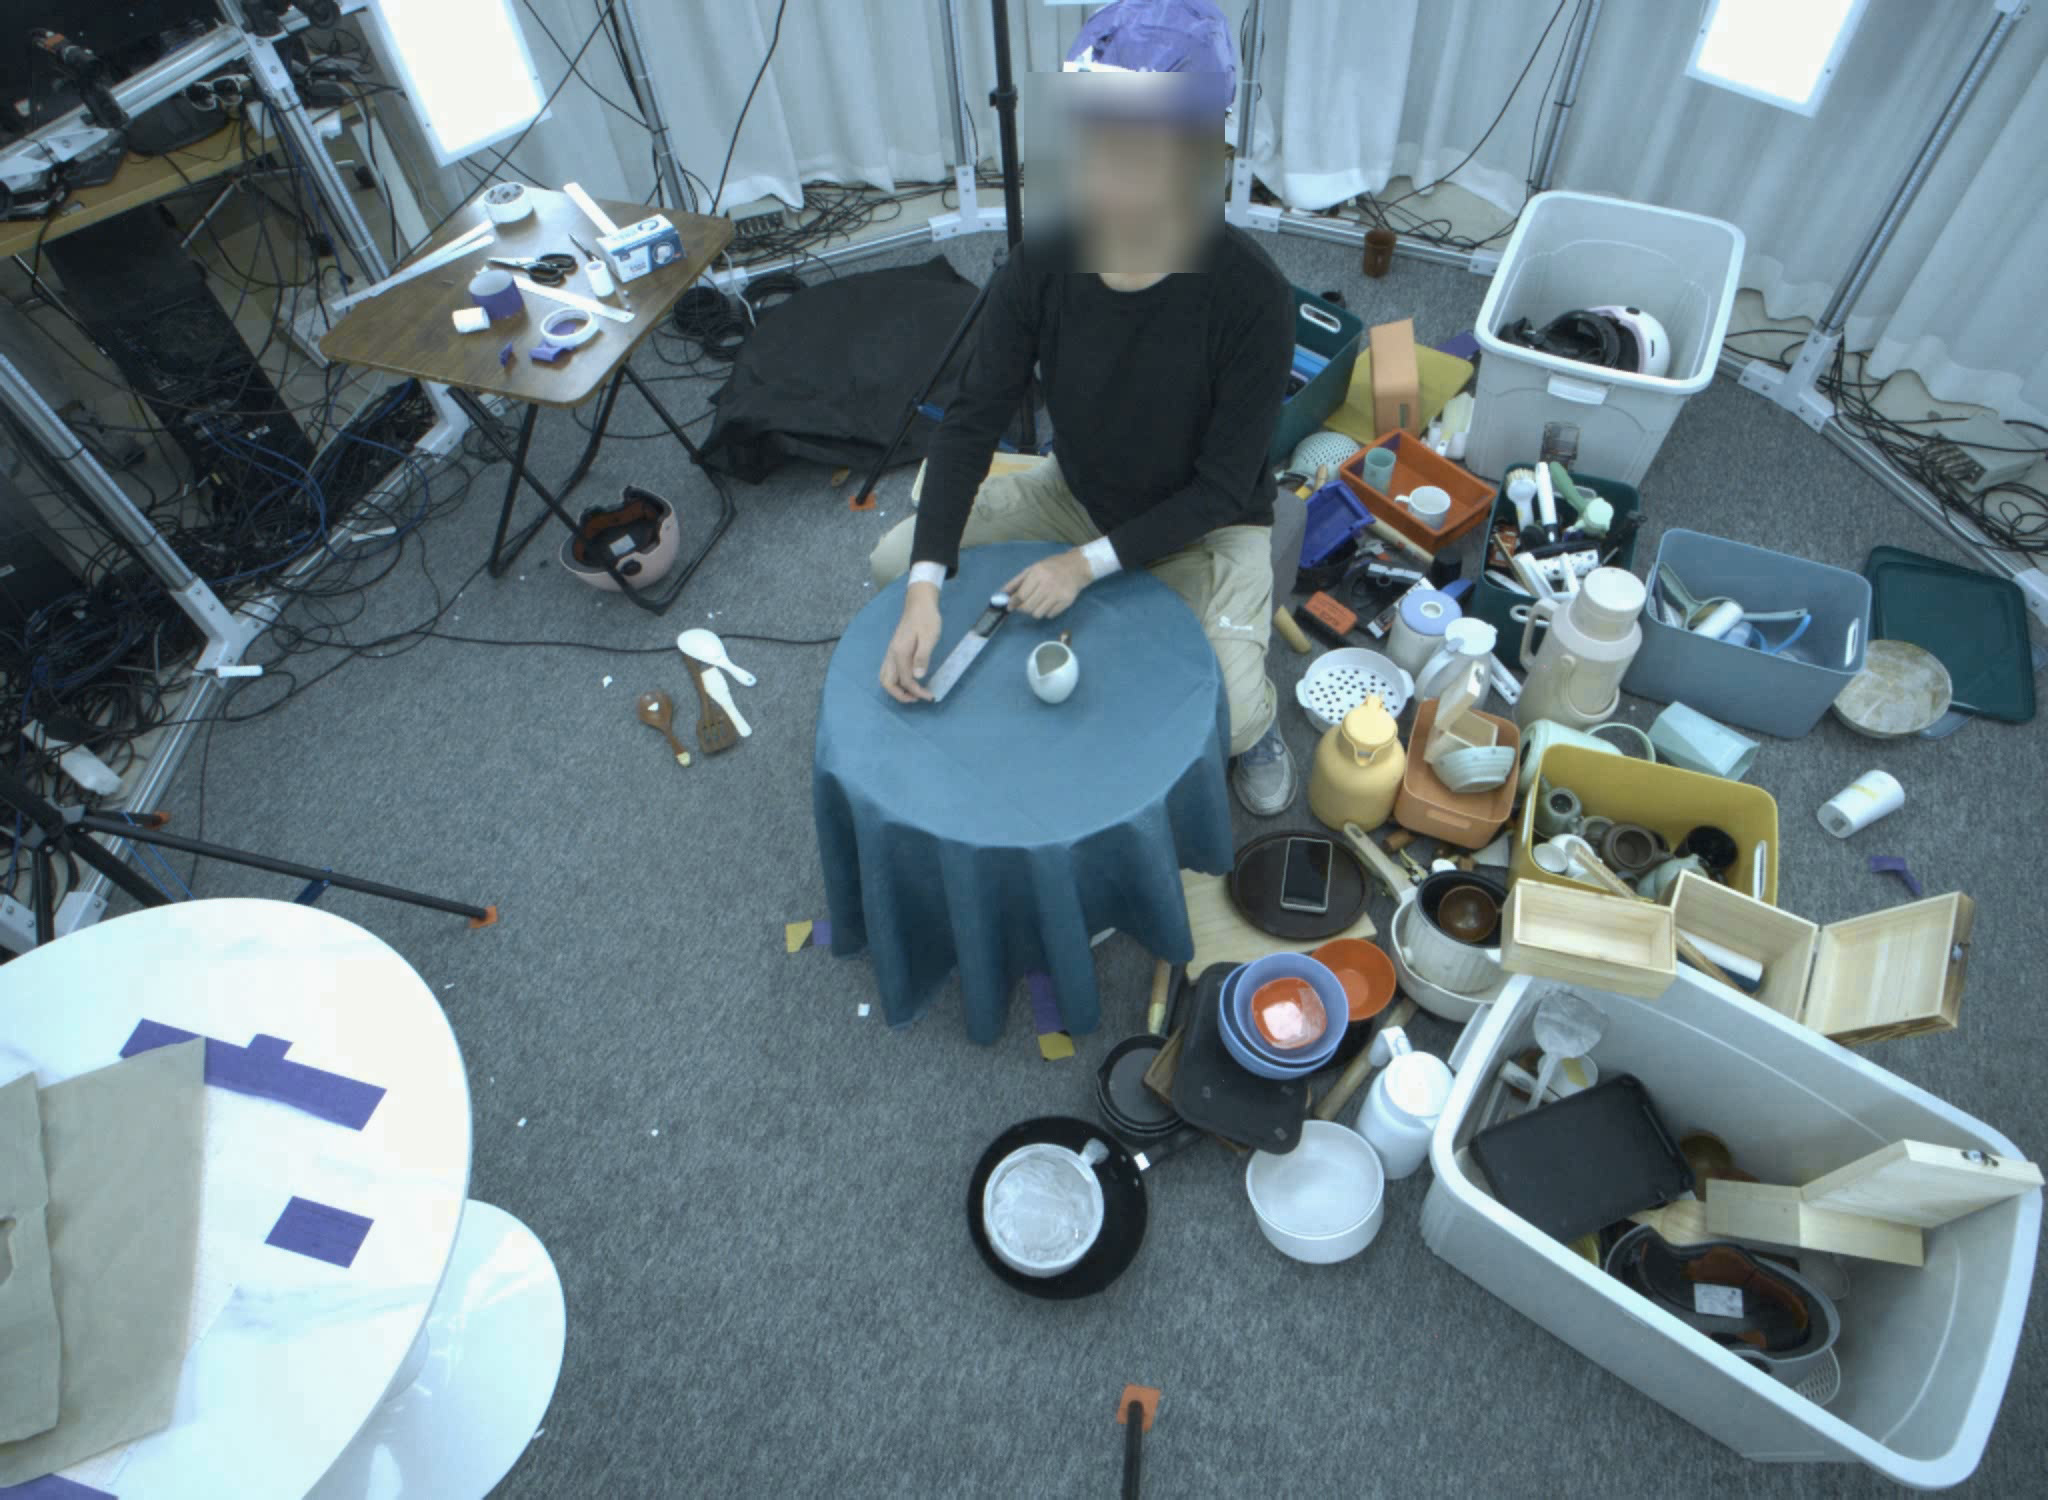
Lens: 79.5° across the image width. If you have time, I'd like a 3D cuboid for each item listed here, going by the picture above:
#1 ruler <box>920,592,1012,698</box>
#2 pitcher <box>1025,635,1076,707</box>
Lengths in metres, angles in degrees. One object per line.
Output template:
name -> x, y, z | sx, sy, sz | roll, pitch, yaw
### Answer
ruler -> -0.086, -0.163, 1.864 | 0.037, 0.024, 0.219 | 21, 57, 25
pitcher -> 0.043, -0.112, 1.812 | 0.075, 0.088, 0.119 | 23, 60, 14
